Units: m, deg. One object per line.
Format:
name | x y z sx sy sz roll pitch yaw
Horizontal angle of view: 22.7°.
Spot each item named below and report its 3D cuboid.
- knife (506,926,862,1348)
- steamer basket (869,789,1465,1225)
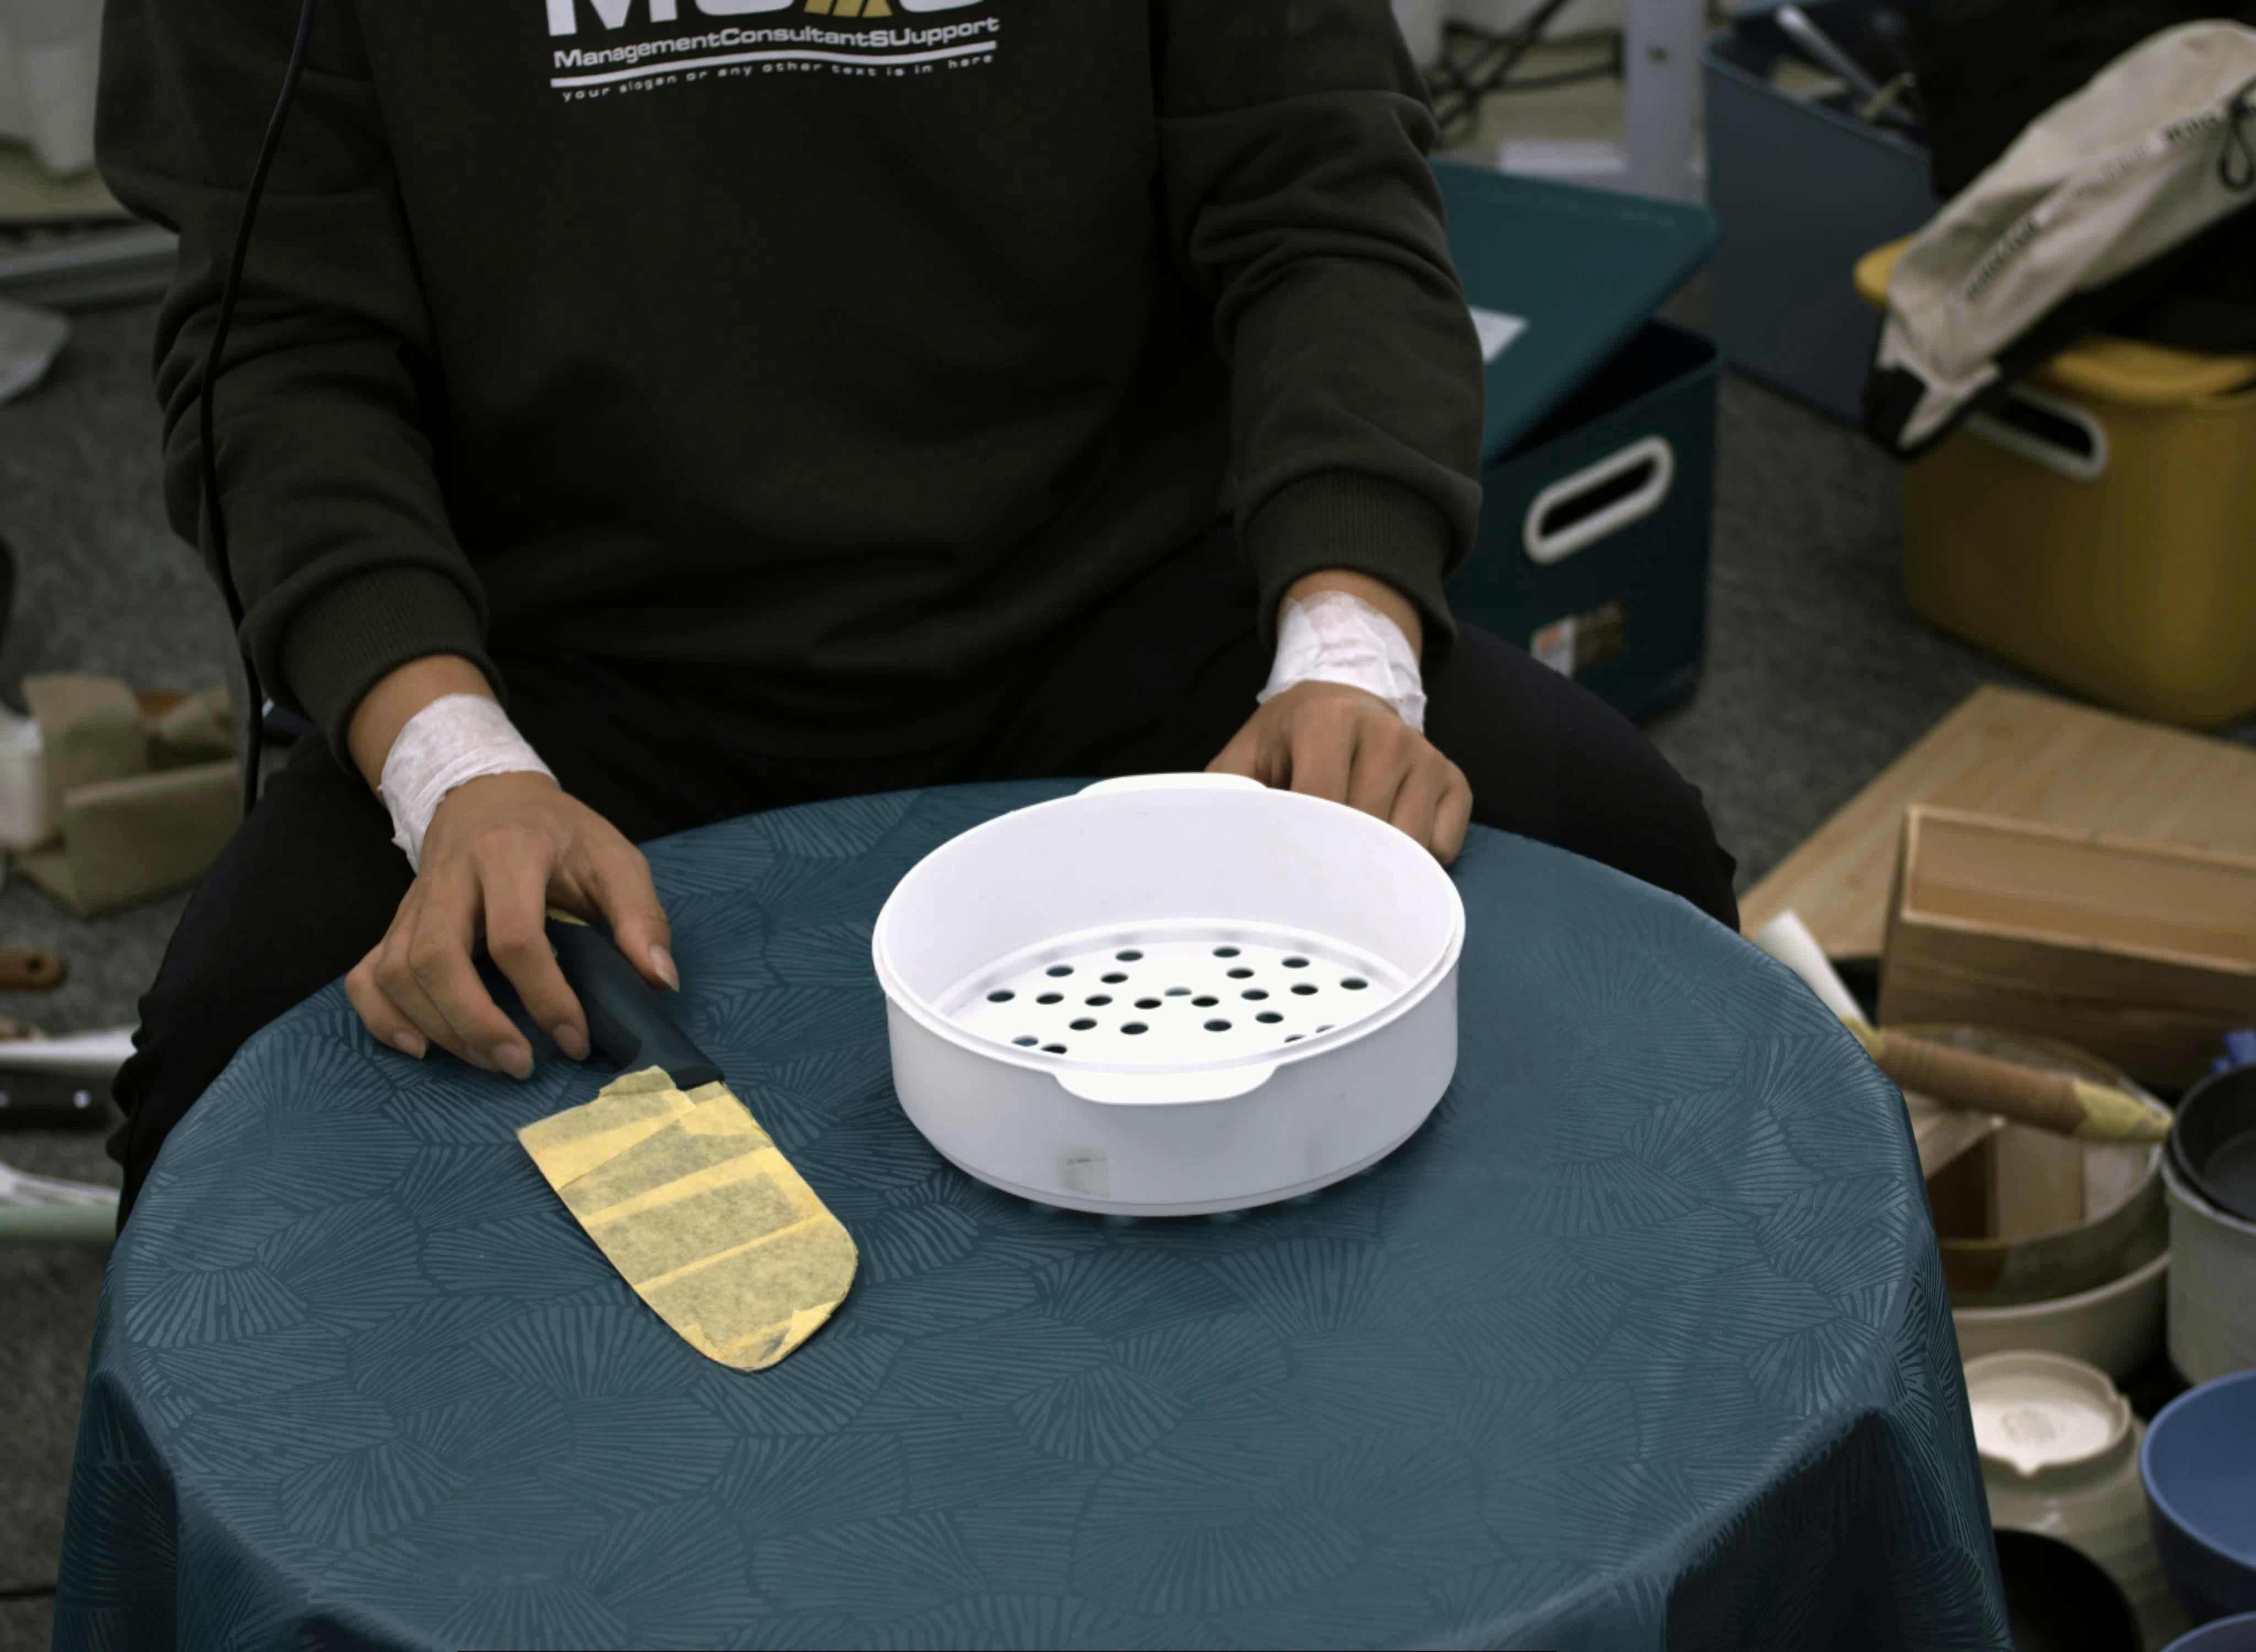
knife | -0.164 0.105 1.894 0.081 0.027 0.291 -16 30 -19
steamer basket | 0.014 0.062 1.903 0.201 0.068 0.234 -1 26 2
